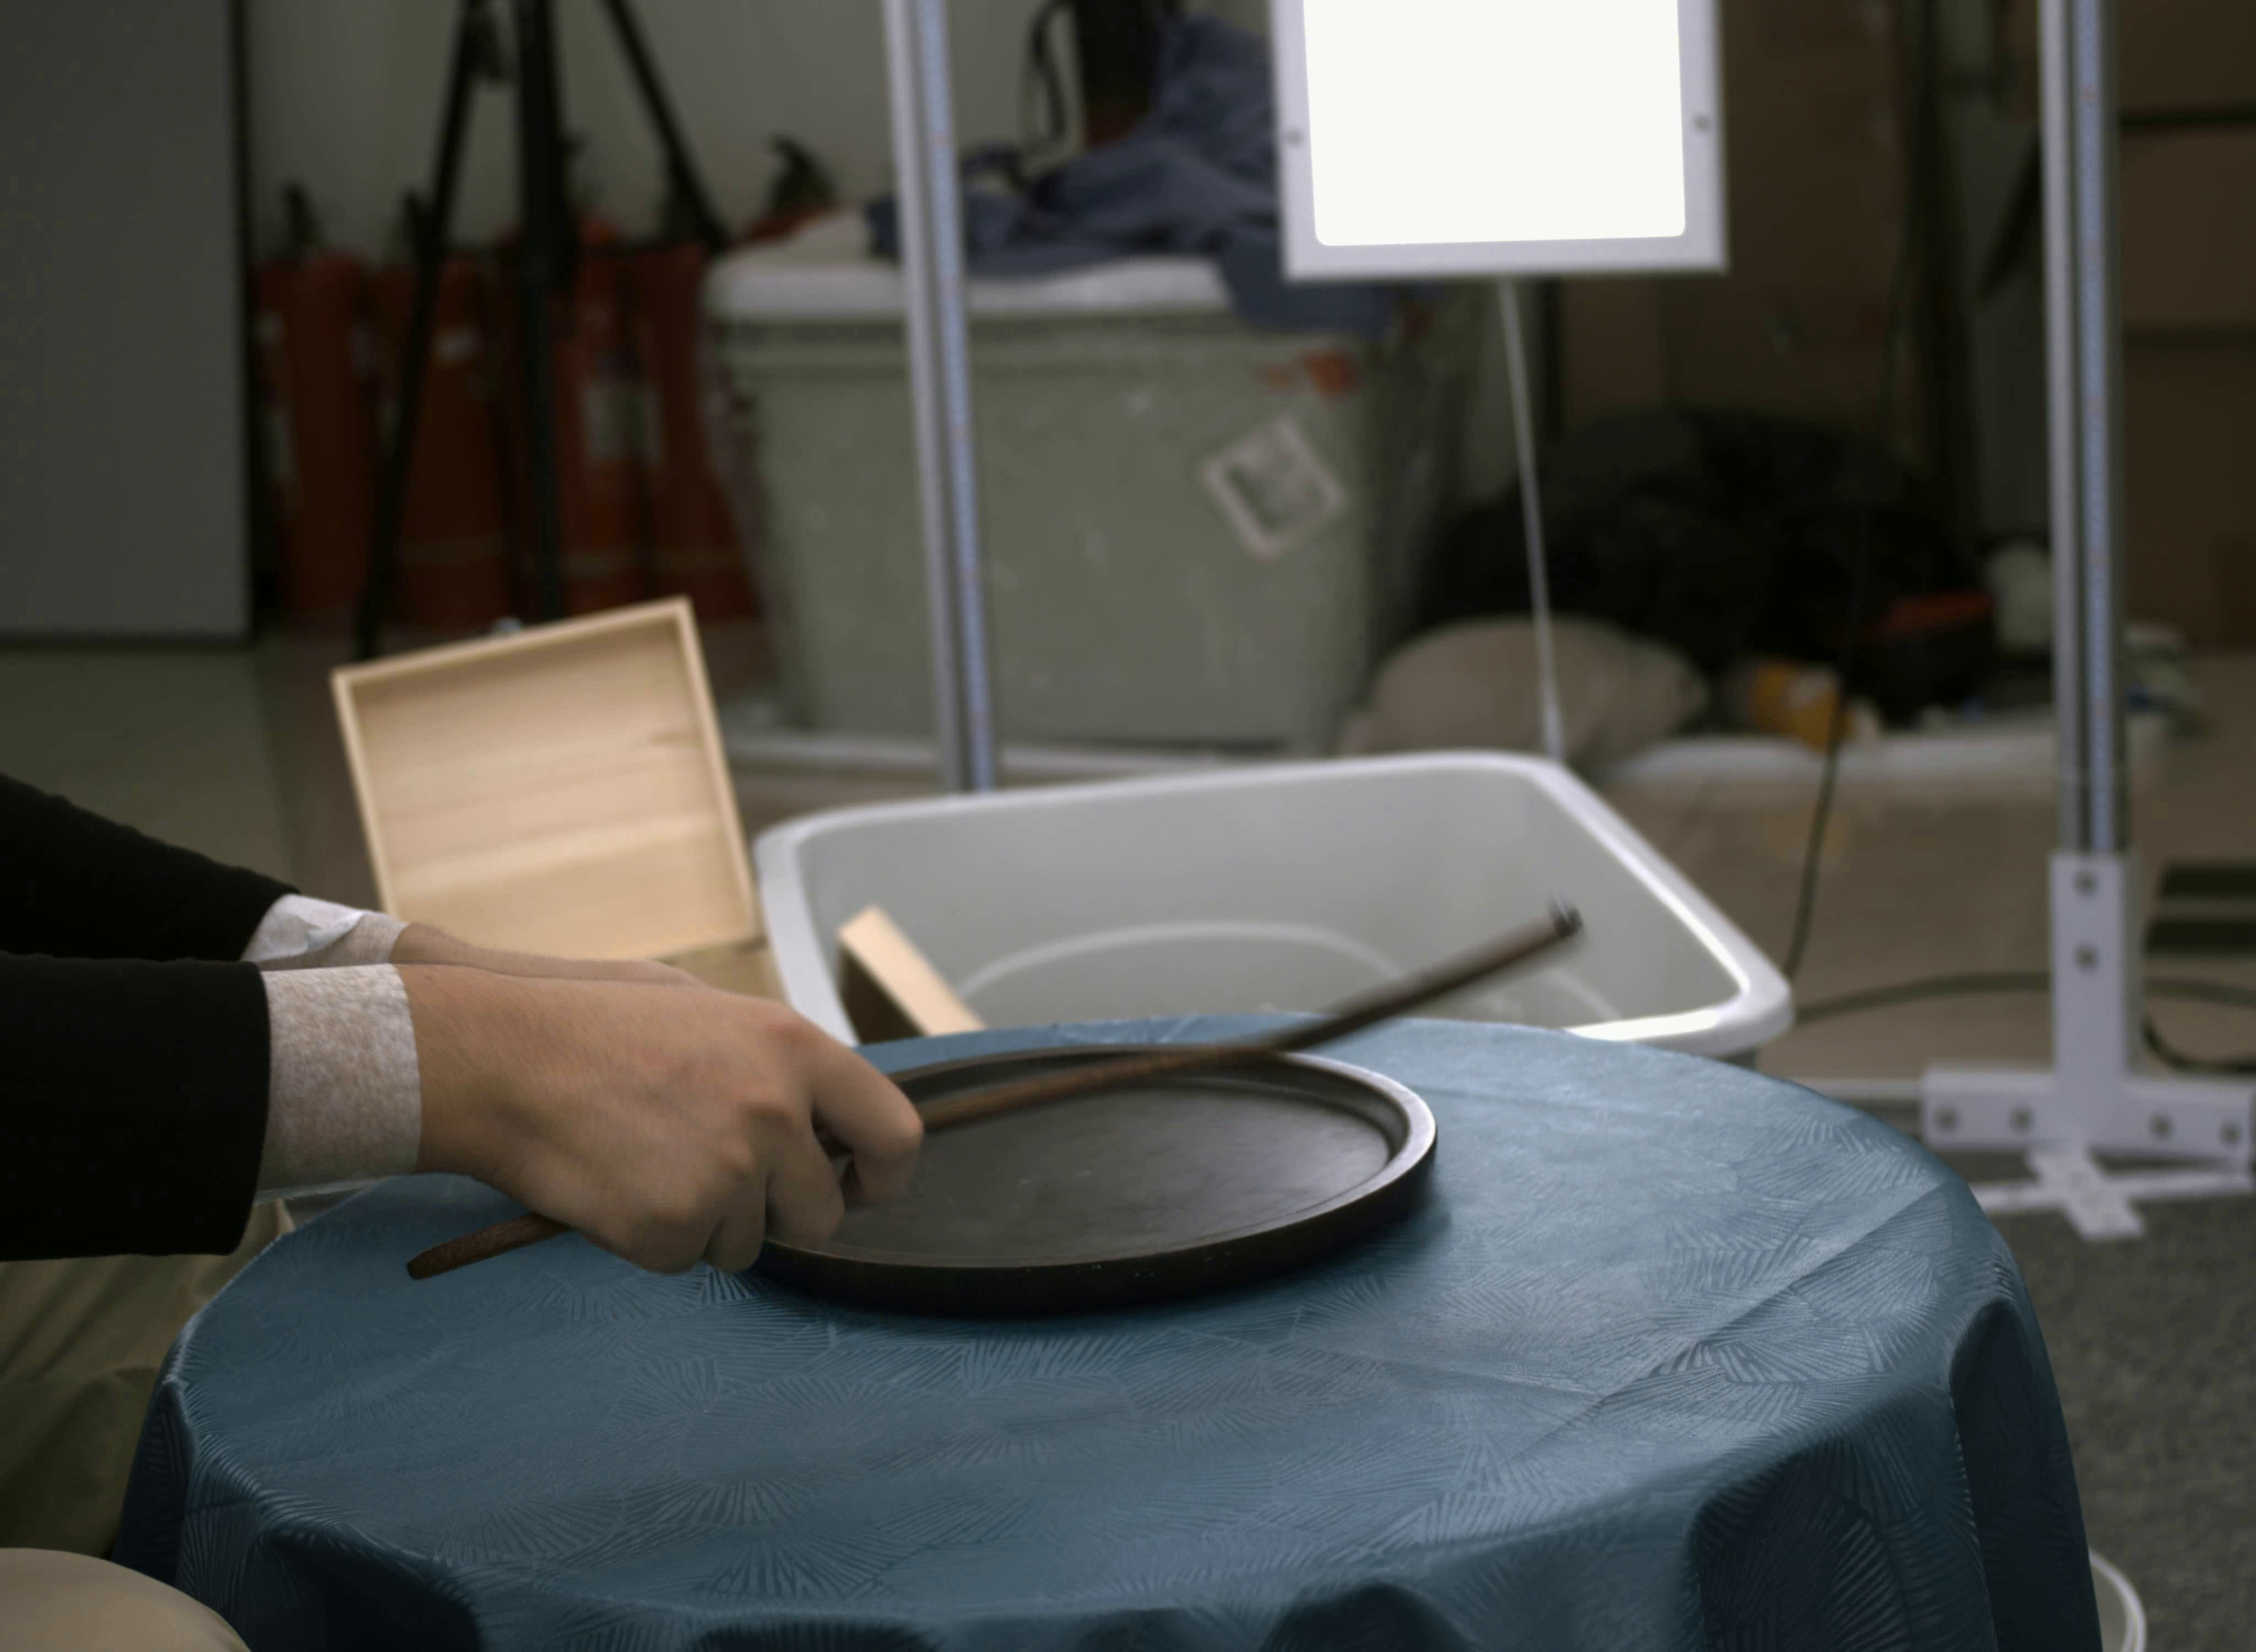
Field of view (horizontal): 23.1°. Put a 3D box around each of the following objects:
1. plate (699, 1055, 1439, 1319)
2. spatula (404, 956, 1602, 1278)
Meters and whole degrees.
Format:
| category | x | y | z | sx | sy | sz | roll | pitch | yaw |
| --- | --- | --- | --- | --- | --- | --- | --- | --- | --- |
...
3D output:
| category | x | y | z | sx | sy | sz | roll | pitch | yaw |
| --- | --- | --- | --- | --- | --- | --- | --- | --- | --- |
| plate | -0.020 | 0.121 | 1.884 | 0.254 | 0.029 | 0.254 | -4 | 15 | 0 |
| spatula | -0.034 | 0.087 | 1.662 | 0.379 | 0.016 | 0.097 | -12 | -4 | -19 |
